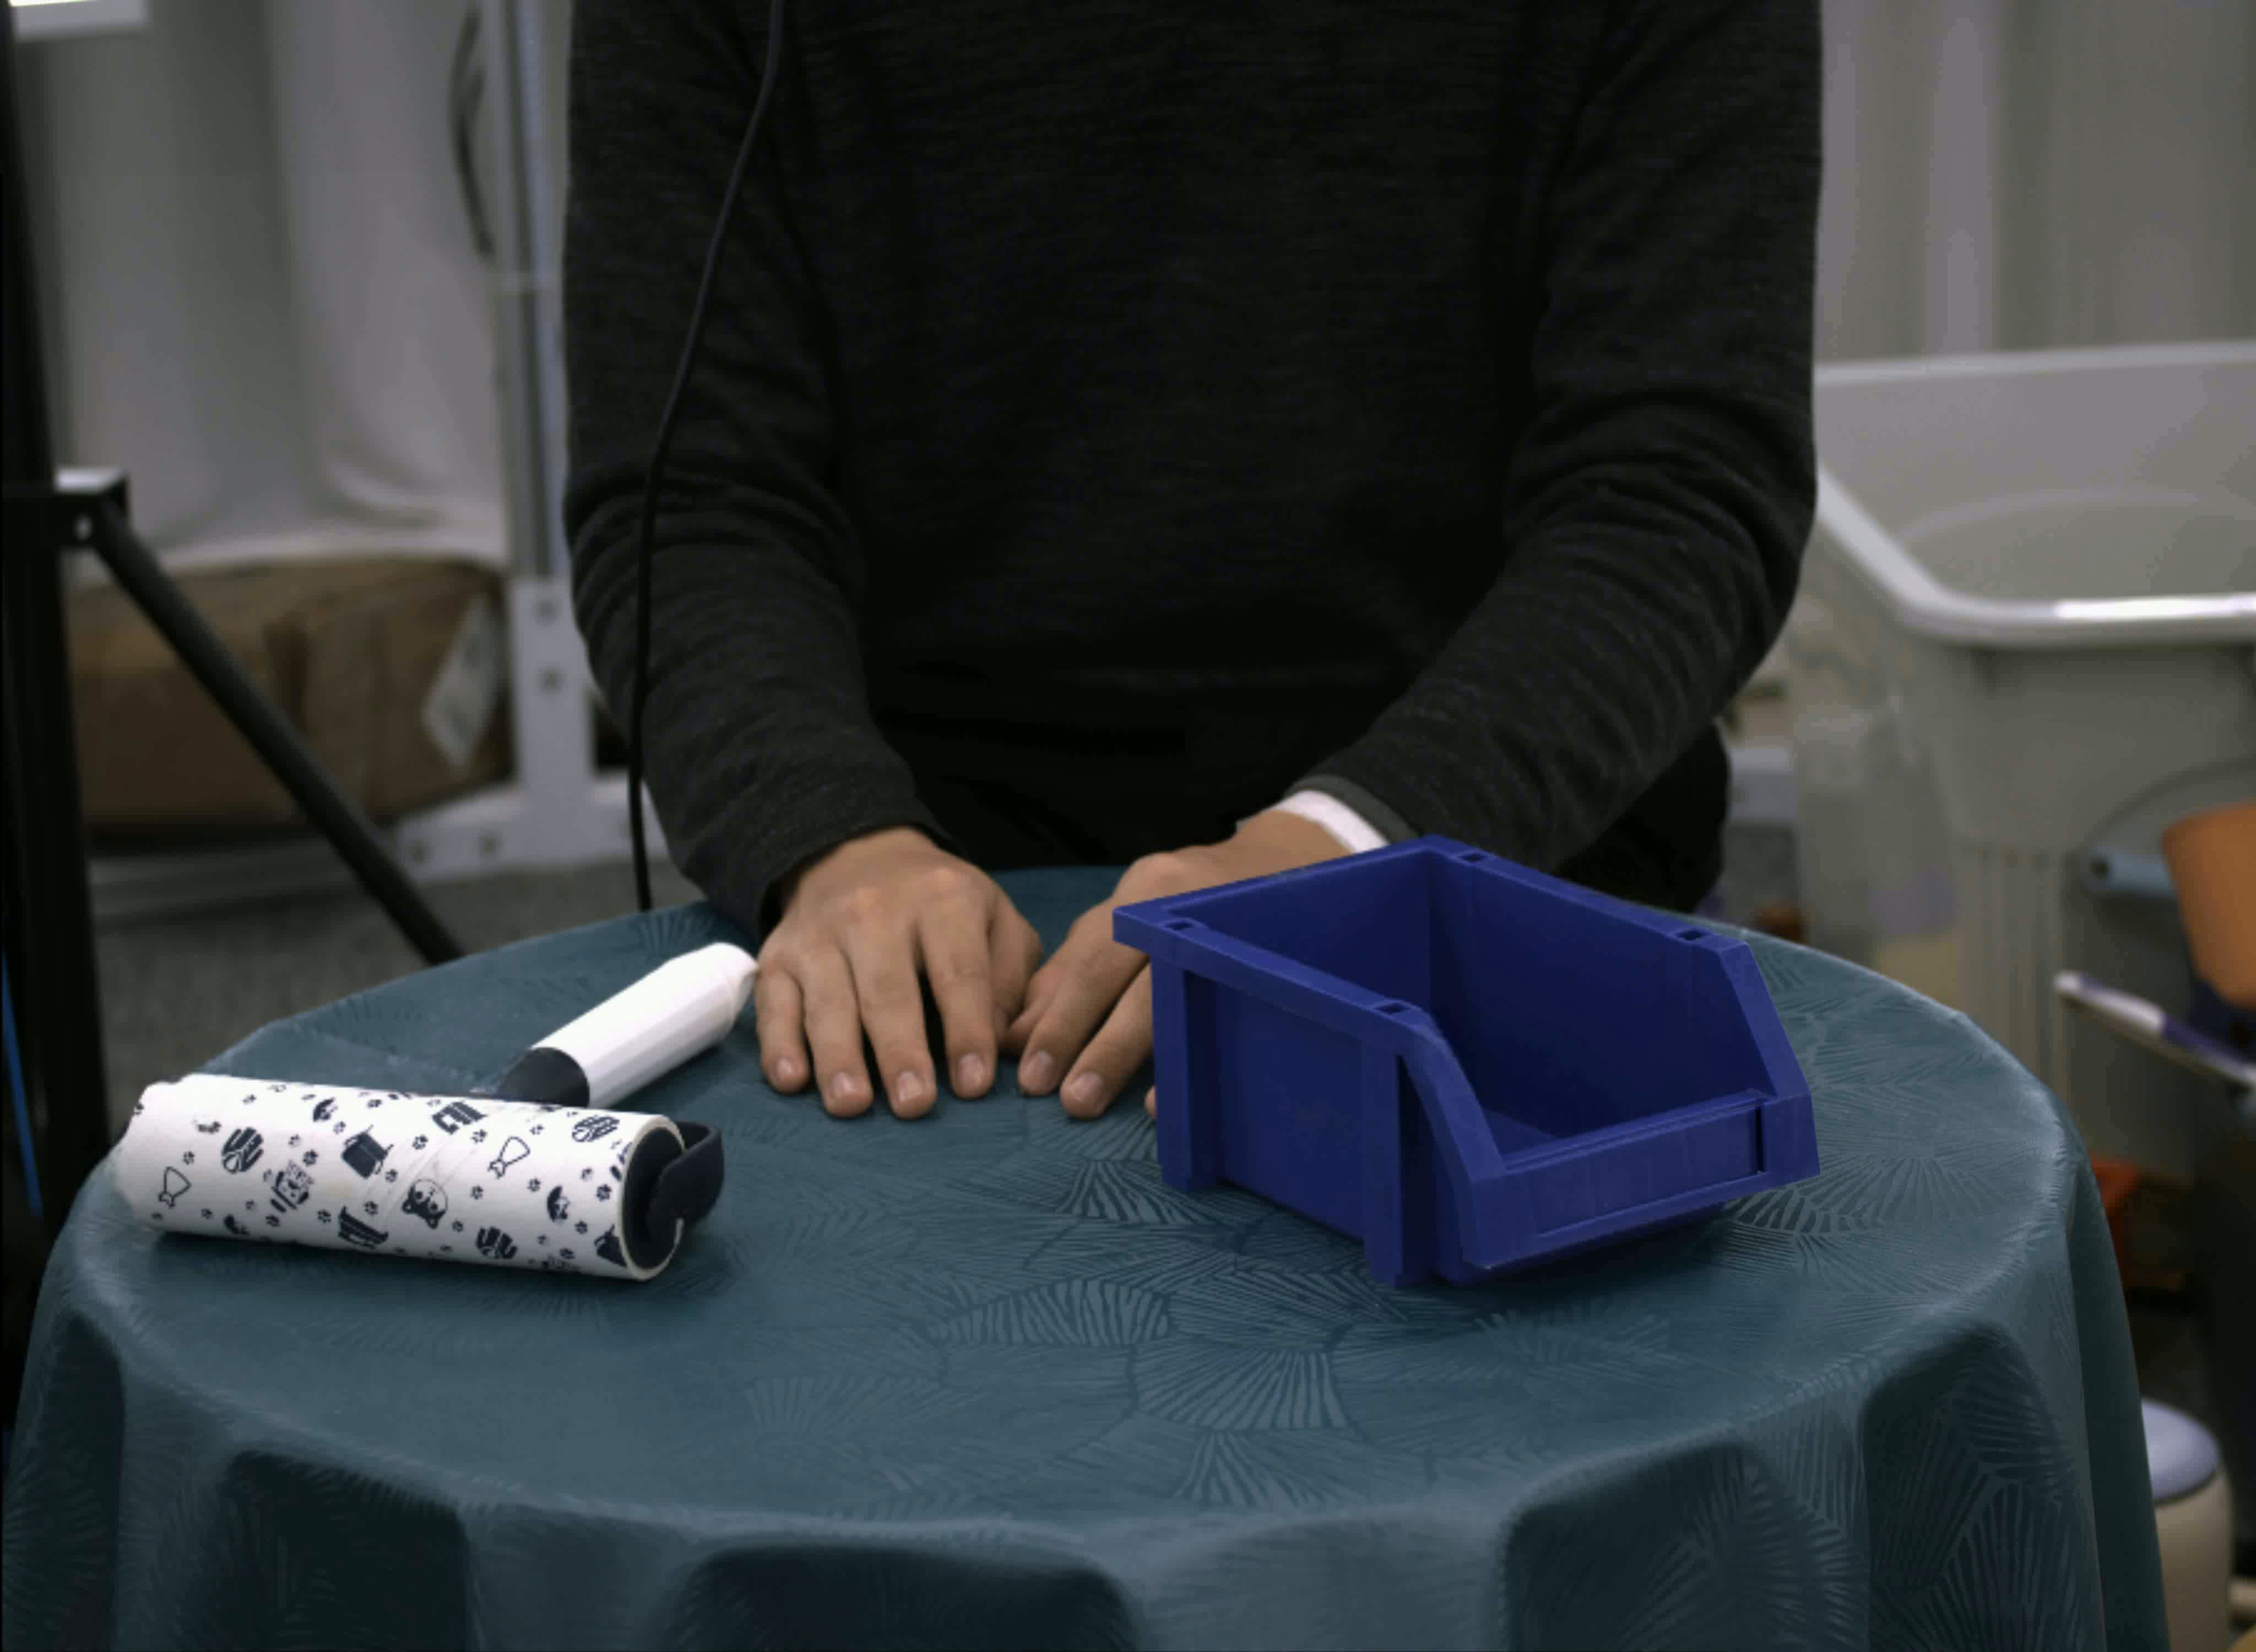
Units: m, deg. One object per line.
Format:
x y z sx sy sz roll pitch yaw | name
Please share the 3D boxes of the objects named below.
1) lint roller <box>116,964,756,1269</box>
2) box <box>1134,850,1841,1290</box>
-0.174 0.075 1.625 0.178 0.050 0.244 3 15 21 | lint roller
0.103 0.071 1.520 0.122 0.082 0.183 -11 15 -30 | box
